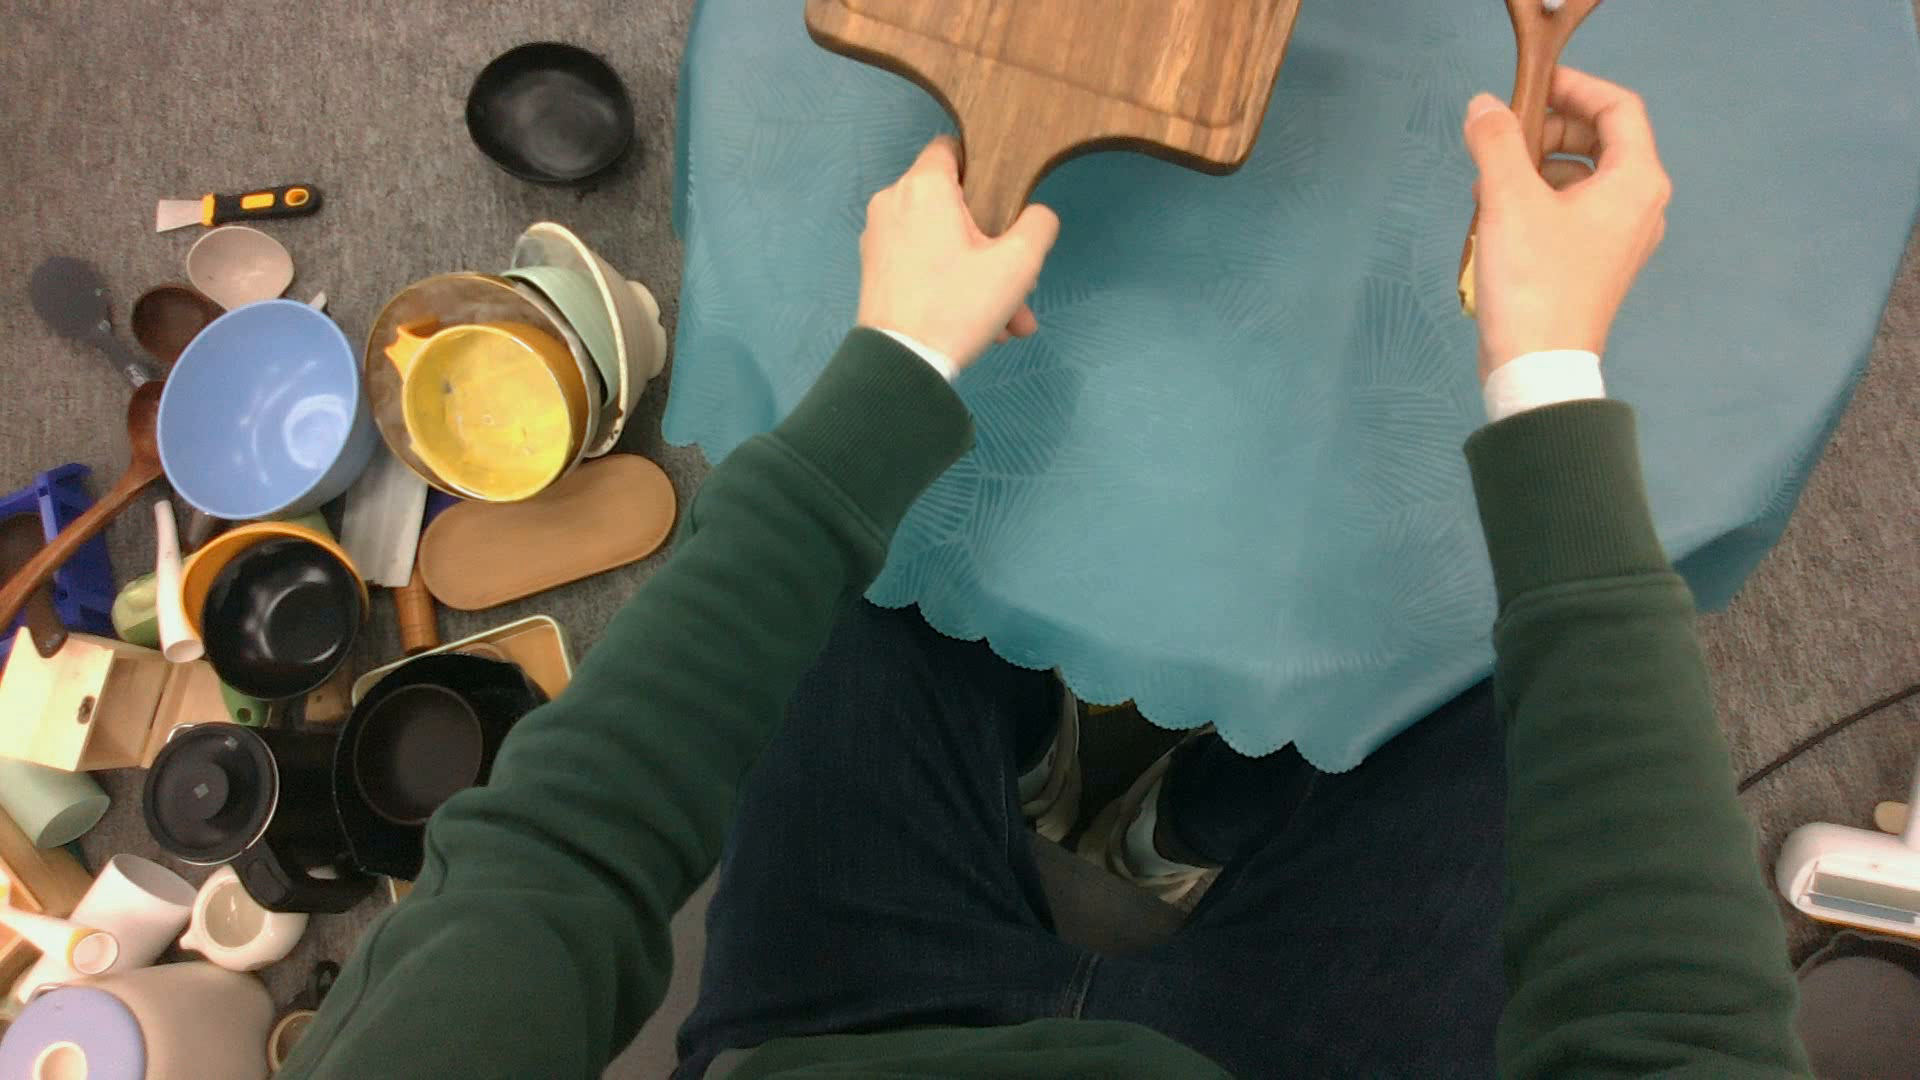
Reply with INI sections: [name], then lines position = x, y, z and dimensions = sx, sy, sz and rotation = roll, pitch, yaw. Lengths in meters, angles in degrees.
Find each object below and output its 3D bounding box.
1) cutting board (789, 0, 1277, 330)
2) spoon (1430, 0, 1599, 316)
[cutting board]
position = 0.040, -0.260, 0.593
dimensions = 0.201, 0.023, 0.352
rotation = 18, 87, -3
[spoon]
position = 0.220, -0.191, 0.548
dimensions = 0.075, 0.017, 0.216
rotation = 13, 82, 10
